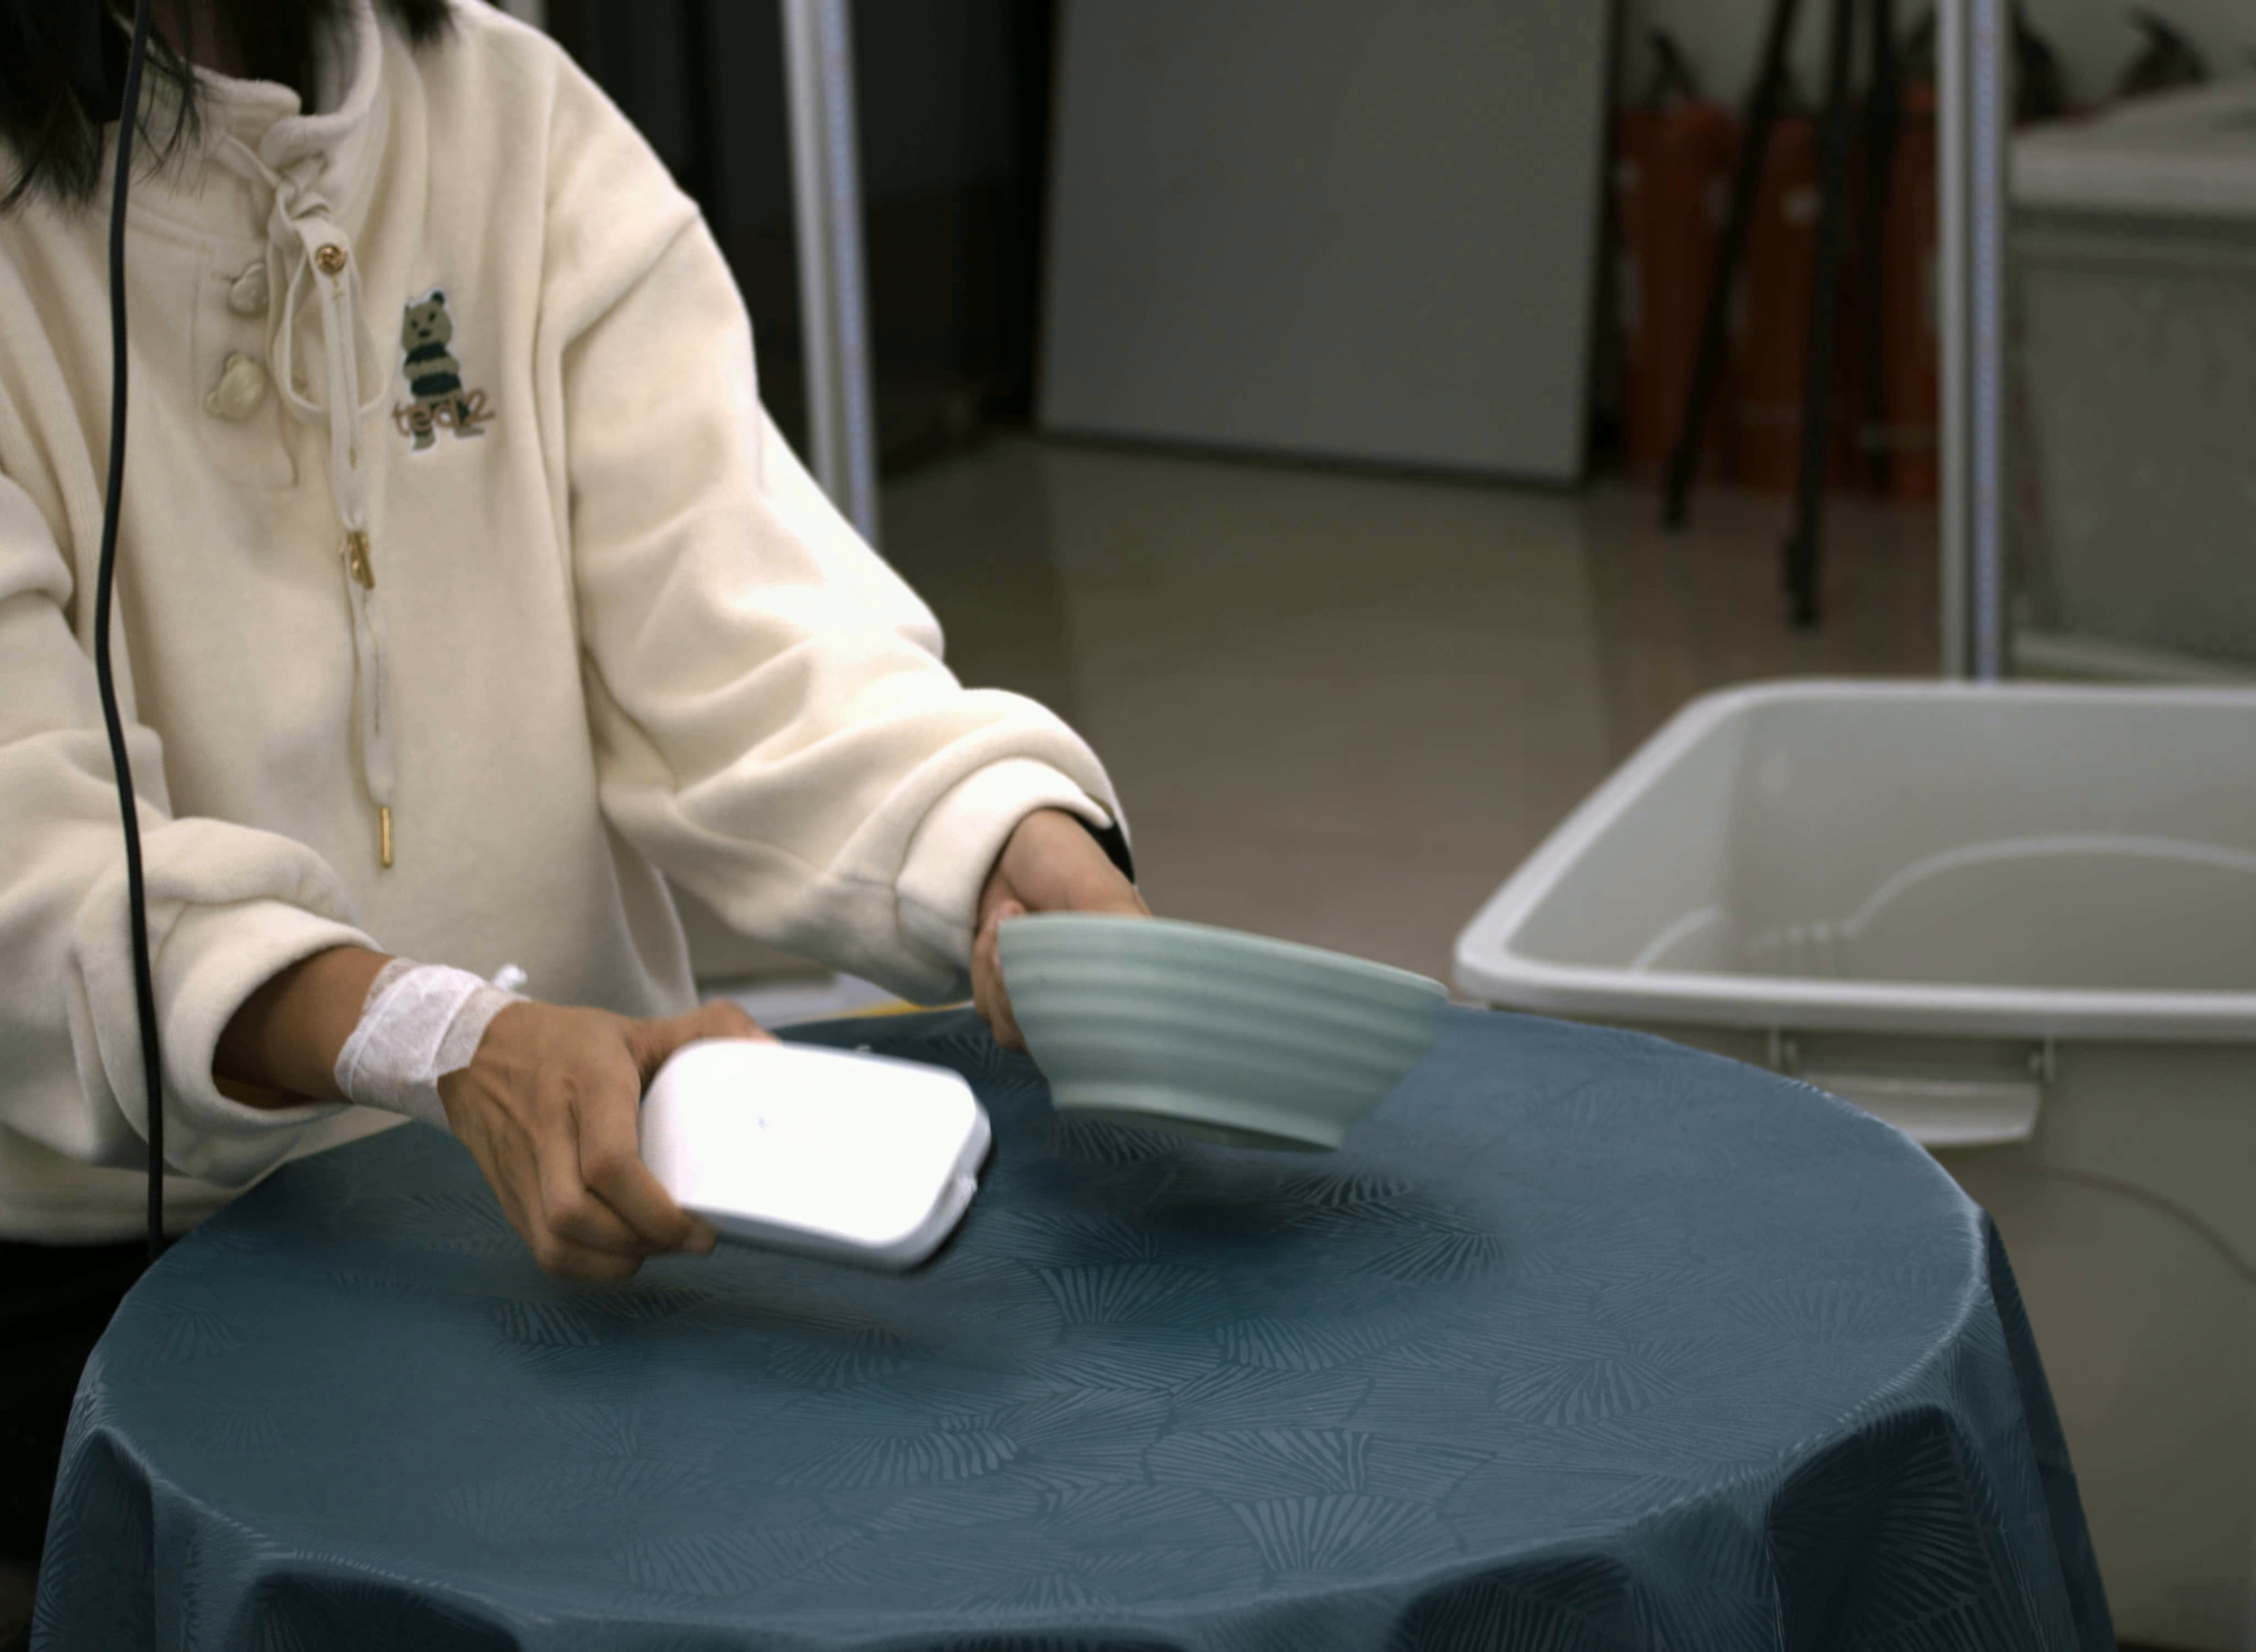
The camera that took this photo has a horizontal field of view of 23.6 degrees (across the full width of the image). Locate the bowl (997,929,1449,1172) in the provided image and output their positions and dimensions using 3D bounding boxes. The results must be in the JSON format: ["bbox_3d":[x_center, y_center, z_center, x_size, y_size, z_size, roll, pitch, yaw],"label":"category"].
[{"bbox_3d":[0.027,0.075,1.730,0.149,0.059,0.151,9,-8,0],"label":"bowl"}]

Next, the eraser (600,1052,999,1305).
[{"bbox_3d":[-0.101,0.107,1.658,0.132,0.034,0.063,8,56,39],"label":"eraser"}]
